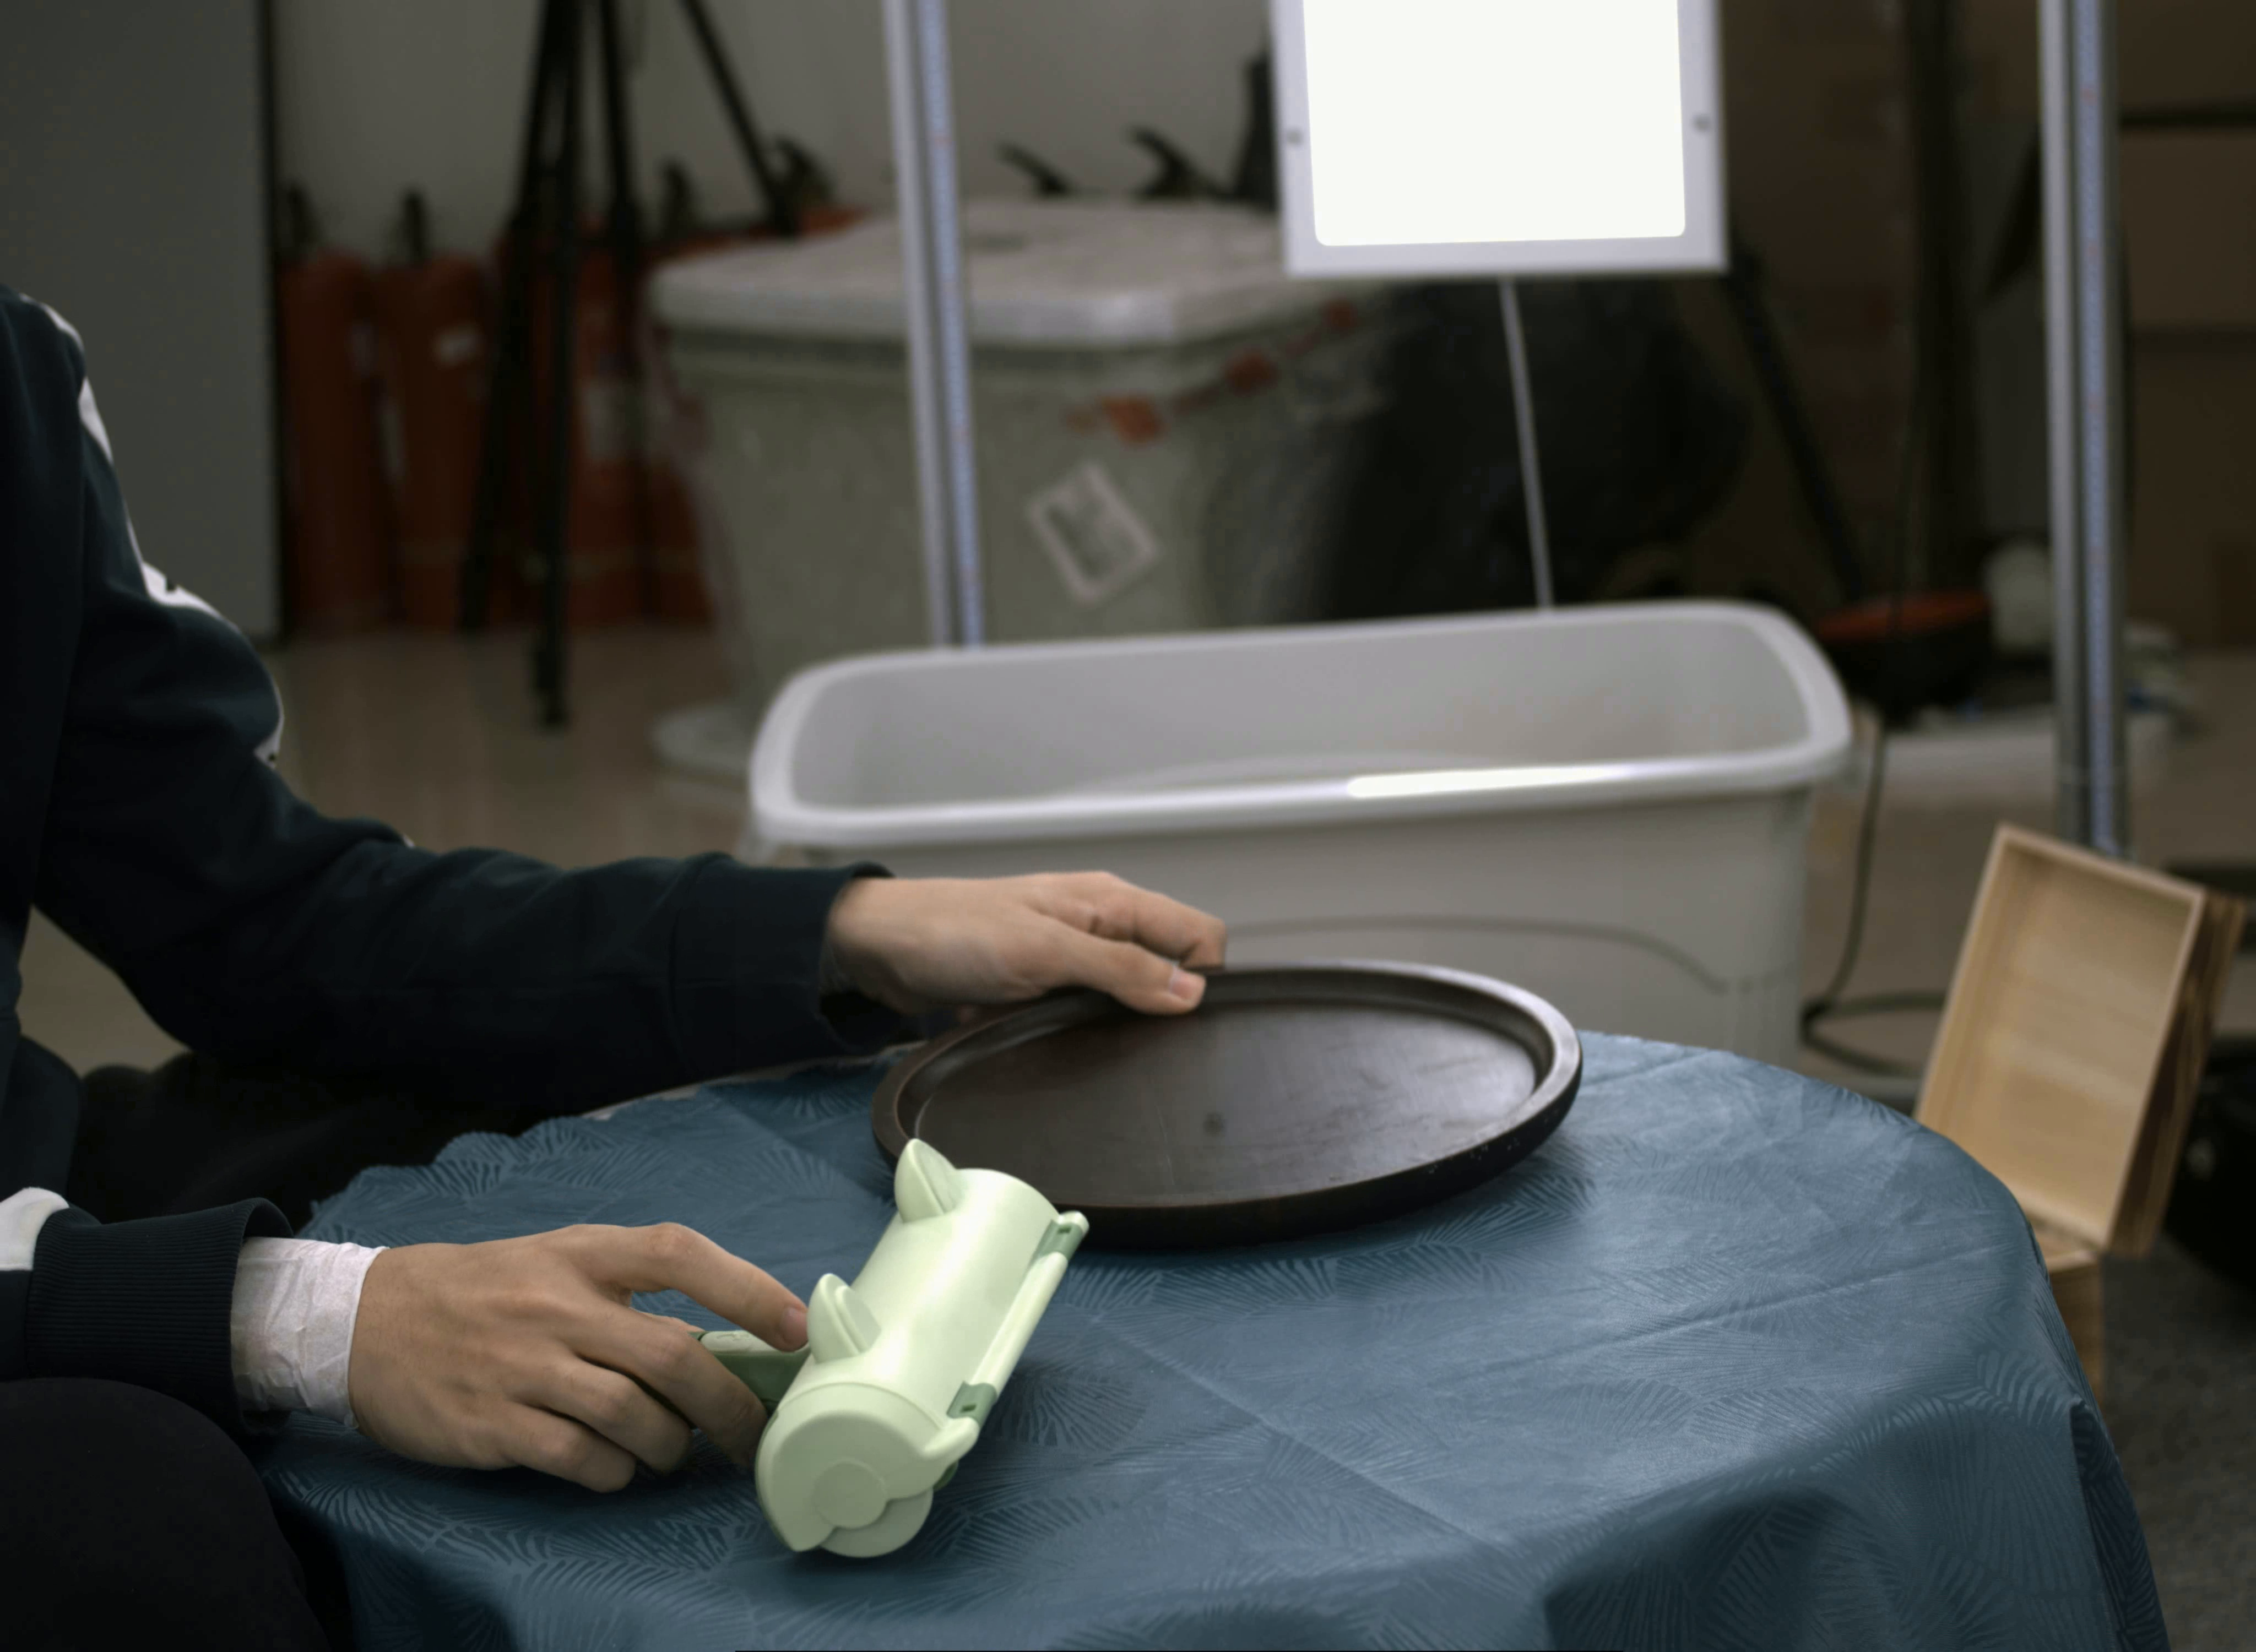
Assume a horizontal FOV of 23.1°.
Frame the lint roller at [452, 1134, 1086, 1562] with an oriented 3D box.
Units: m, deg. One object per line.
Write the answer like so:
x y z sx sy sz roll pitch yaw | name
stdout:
-0.118 0.151 1.661 0.185 0.082 0.196 0 17 12 | lint roller

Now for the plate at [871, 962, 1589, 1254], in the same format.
0.036 0.096 1.928 0.254 0.029 0.254 -7 18 1 | plate
